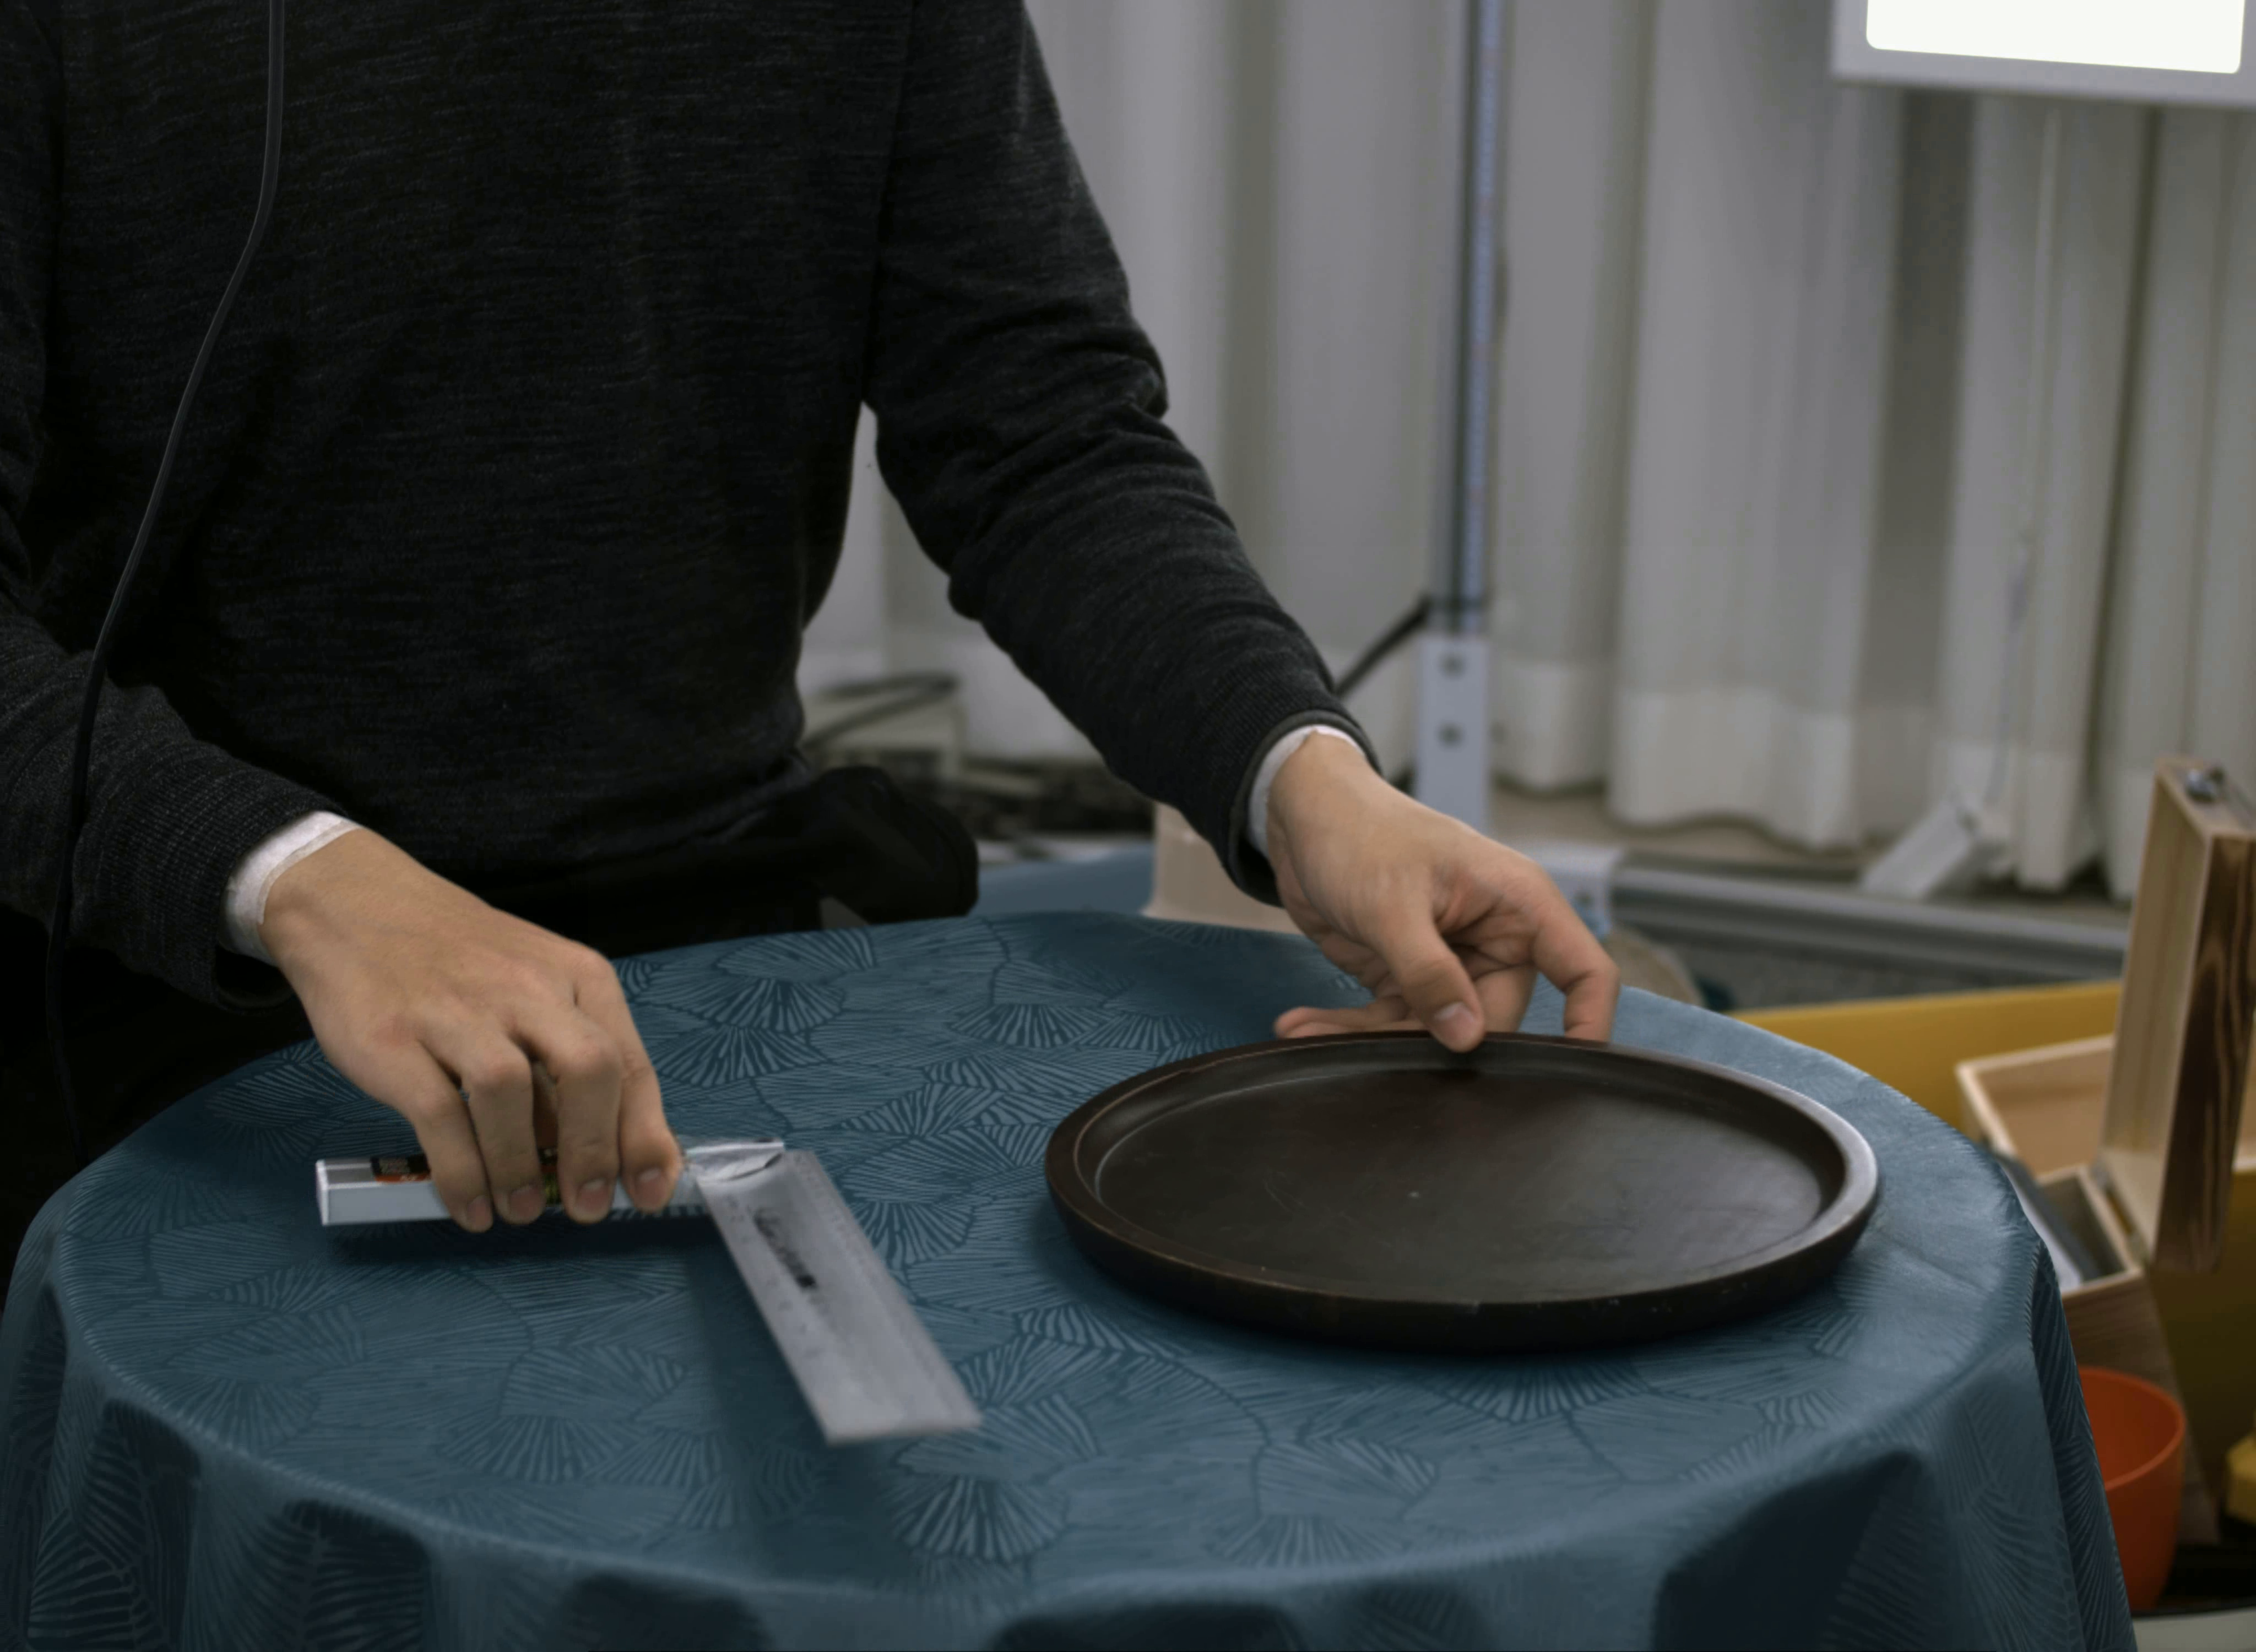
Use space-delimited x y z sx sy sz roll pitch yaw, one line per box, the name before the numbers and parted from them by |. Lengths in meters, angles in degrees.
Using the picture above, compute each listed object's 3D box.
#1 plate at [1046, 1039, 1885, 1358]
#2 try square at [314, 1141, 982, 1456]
plate | 0.101 0.109 1.592 0.254 0.029 0.253 1 16 0
try square | -0.140 0.131 1.443 0.152 0.016 0.310 -3 10 -11
